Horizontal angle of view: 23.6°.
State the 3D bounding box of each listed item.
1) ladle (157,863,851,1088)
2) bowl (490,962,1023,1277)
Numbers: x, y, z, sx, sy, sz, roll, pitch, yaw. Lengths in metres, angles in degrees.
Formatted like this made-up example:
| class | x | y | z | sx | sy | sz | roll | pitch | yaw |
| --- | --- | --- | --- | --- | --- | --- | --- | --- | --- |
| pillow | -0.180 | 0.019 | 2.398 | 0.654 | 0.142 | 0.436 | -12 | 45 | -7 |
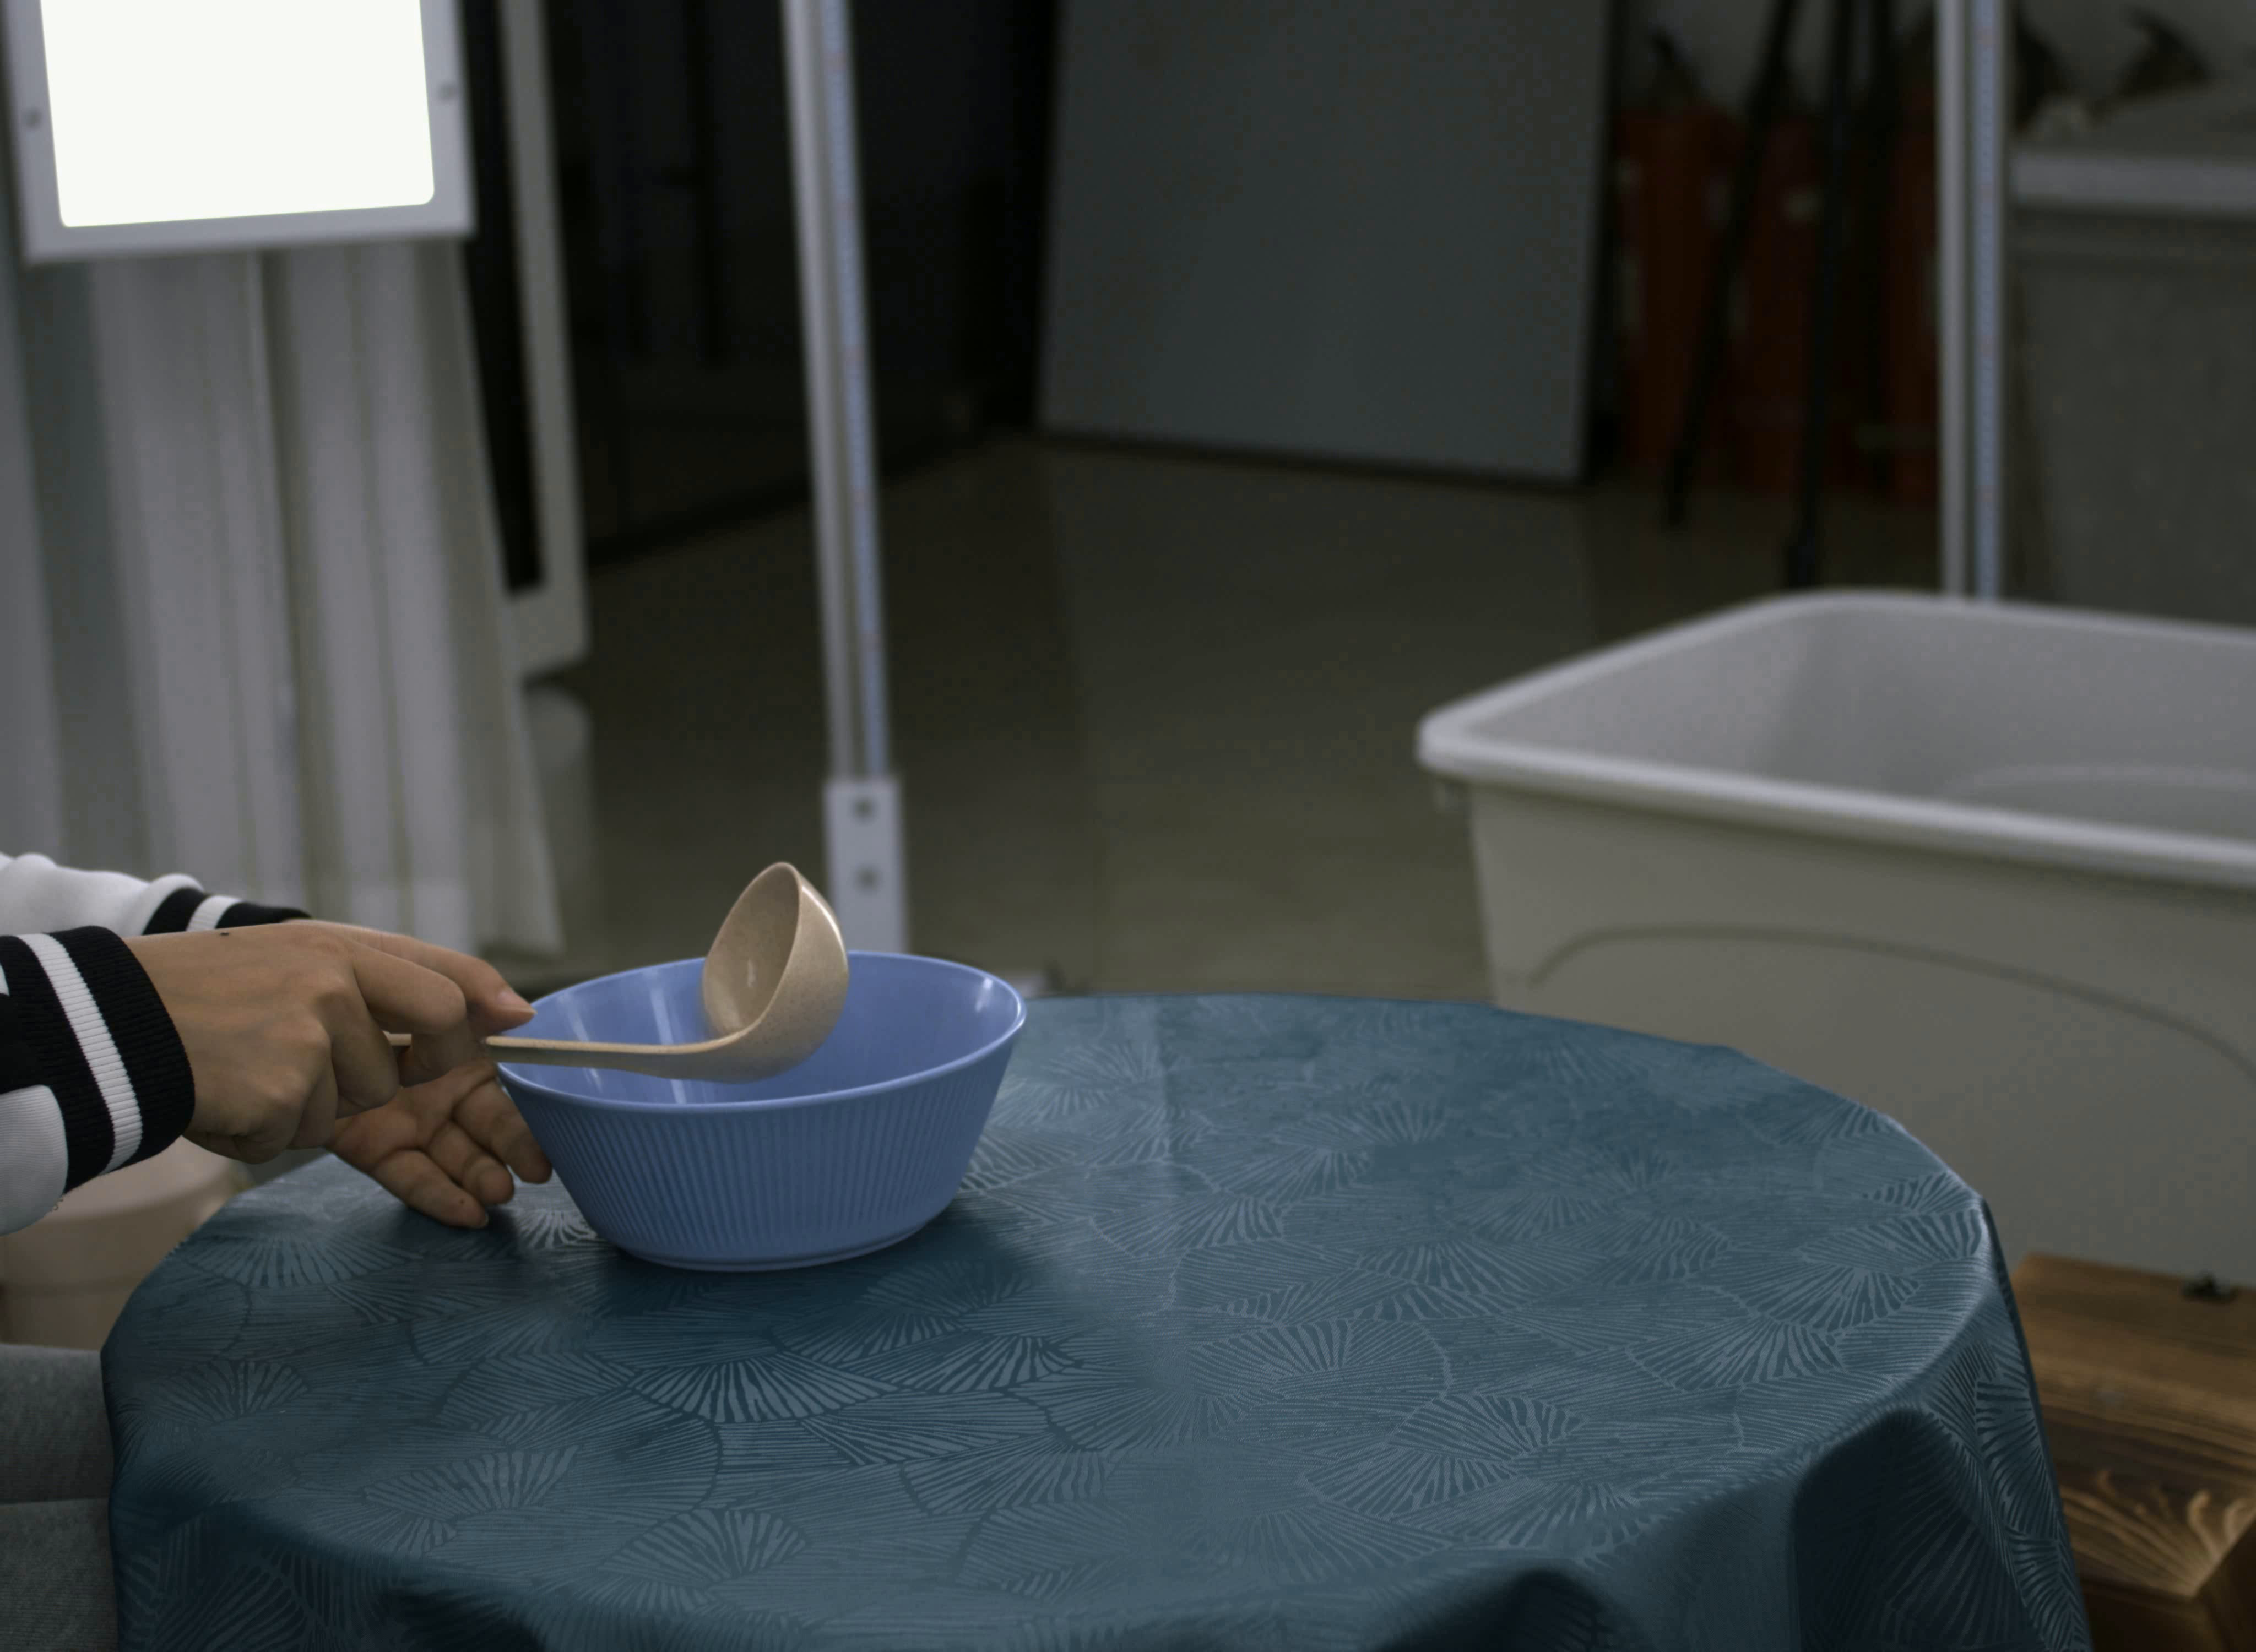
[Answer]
| class | x | y | z | sx | sy | sz | roll | pitch | yaw |
| --- | --- | --- | --- | --- | --- | --- | --- | --- | --- |
| ladle | -0.197 | 0.045 | 1.682 | 0.248 | 0.074 | 0.073 | 3 | -31 | -39 |
| bowl | -0.118 | 0.097 | 1.756 | 0.174 | 0.071 | 0.176 | -4 | 13 | 0 |
